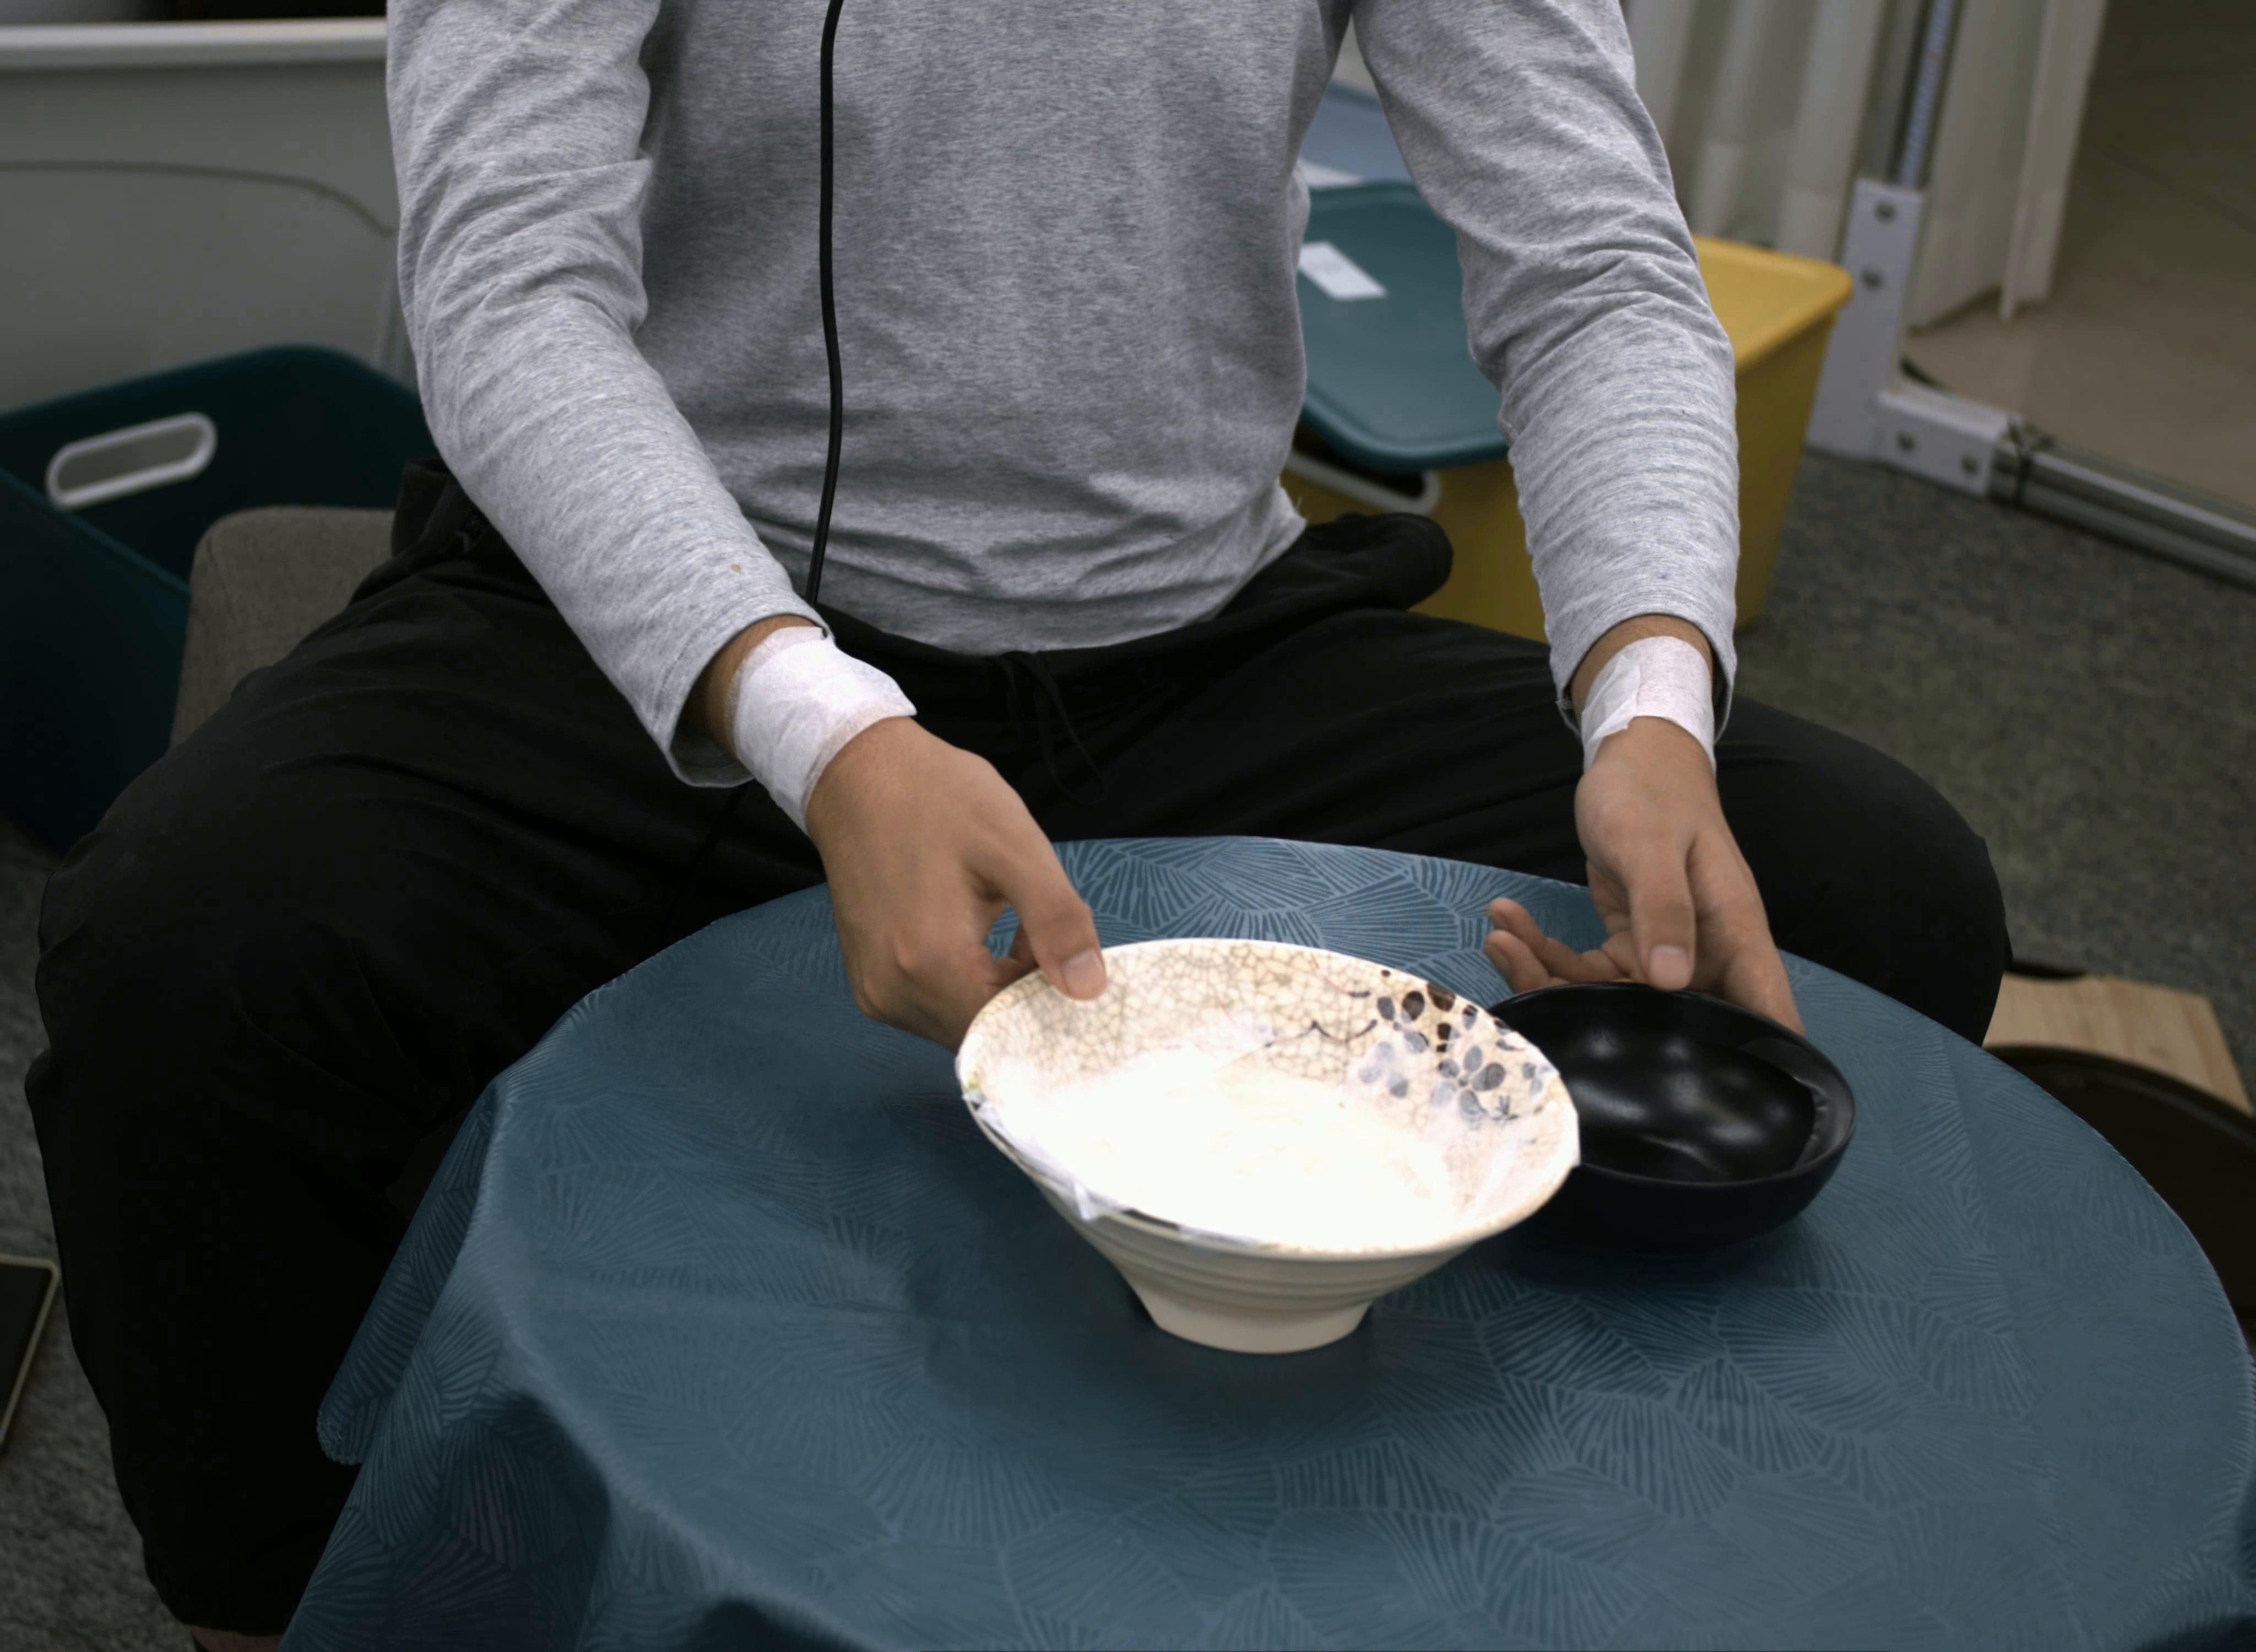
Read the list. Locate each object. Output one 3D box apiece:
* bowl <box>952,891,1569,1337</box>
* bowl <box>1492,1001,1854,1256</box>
[{"bbox_3d":[0.037,0.109,1.732,0.203,0.077,0.205,8,32,-6],"label":"bowl"},{"bbox_3d":[0.177,0.110,1.825,0.139,0.049,0.141,6,21,-3],"label":"bowl"}]
